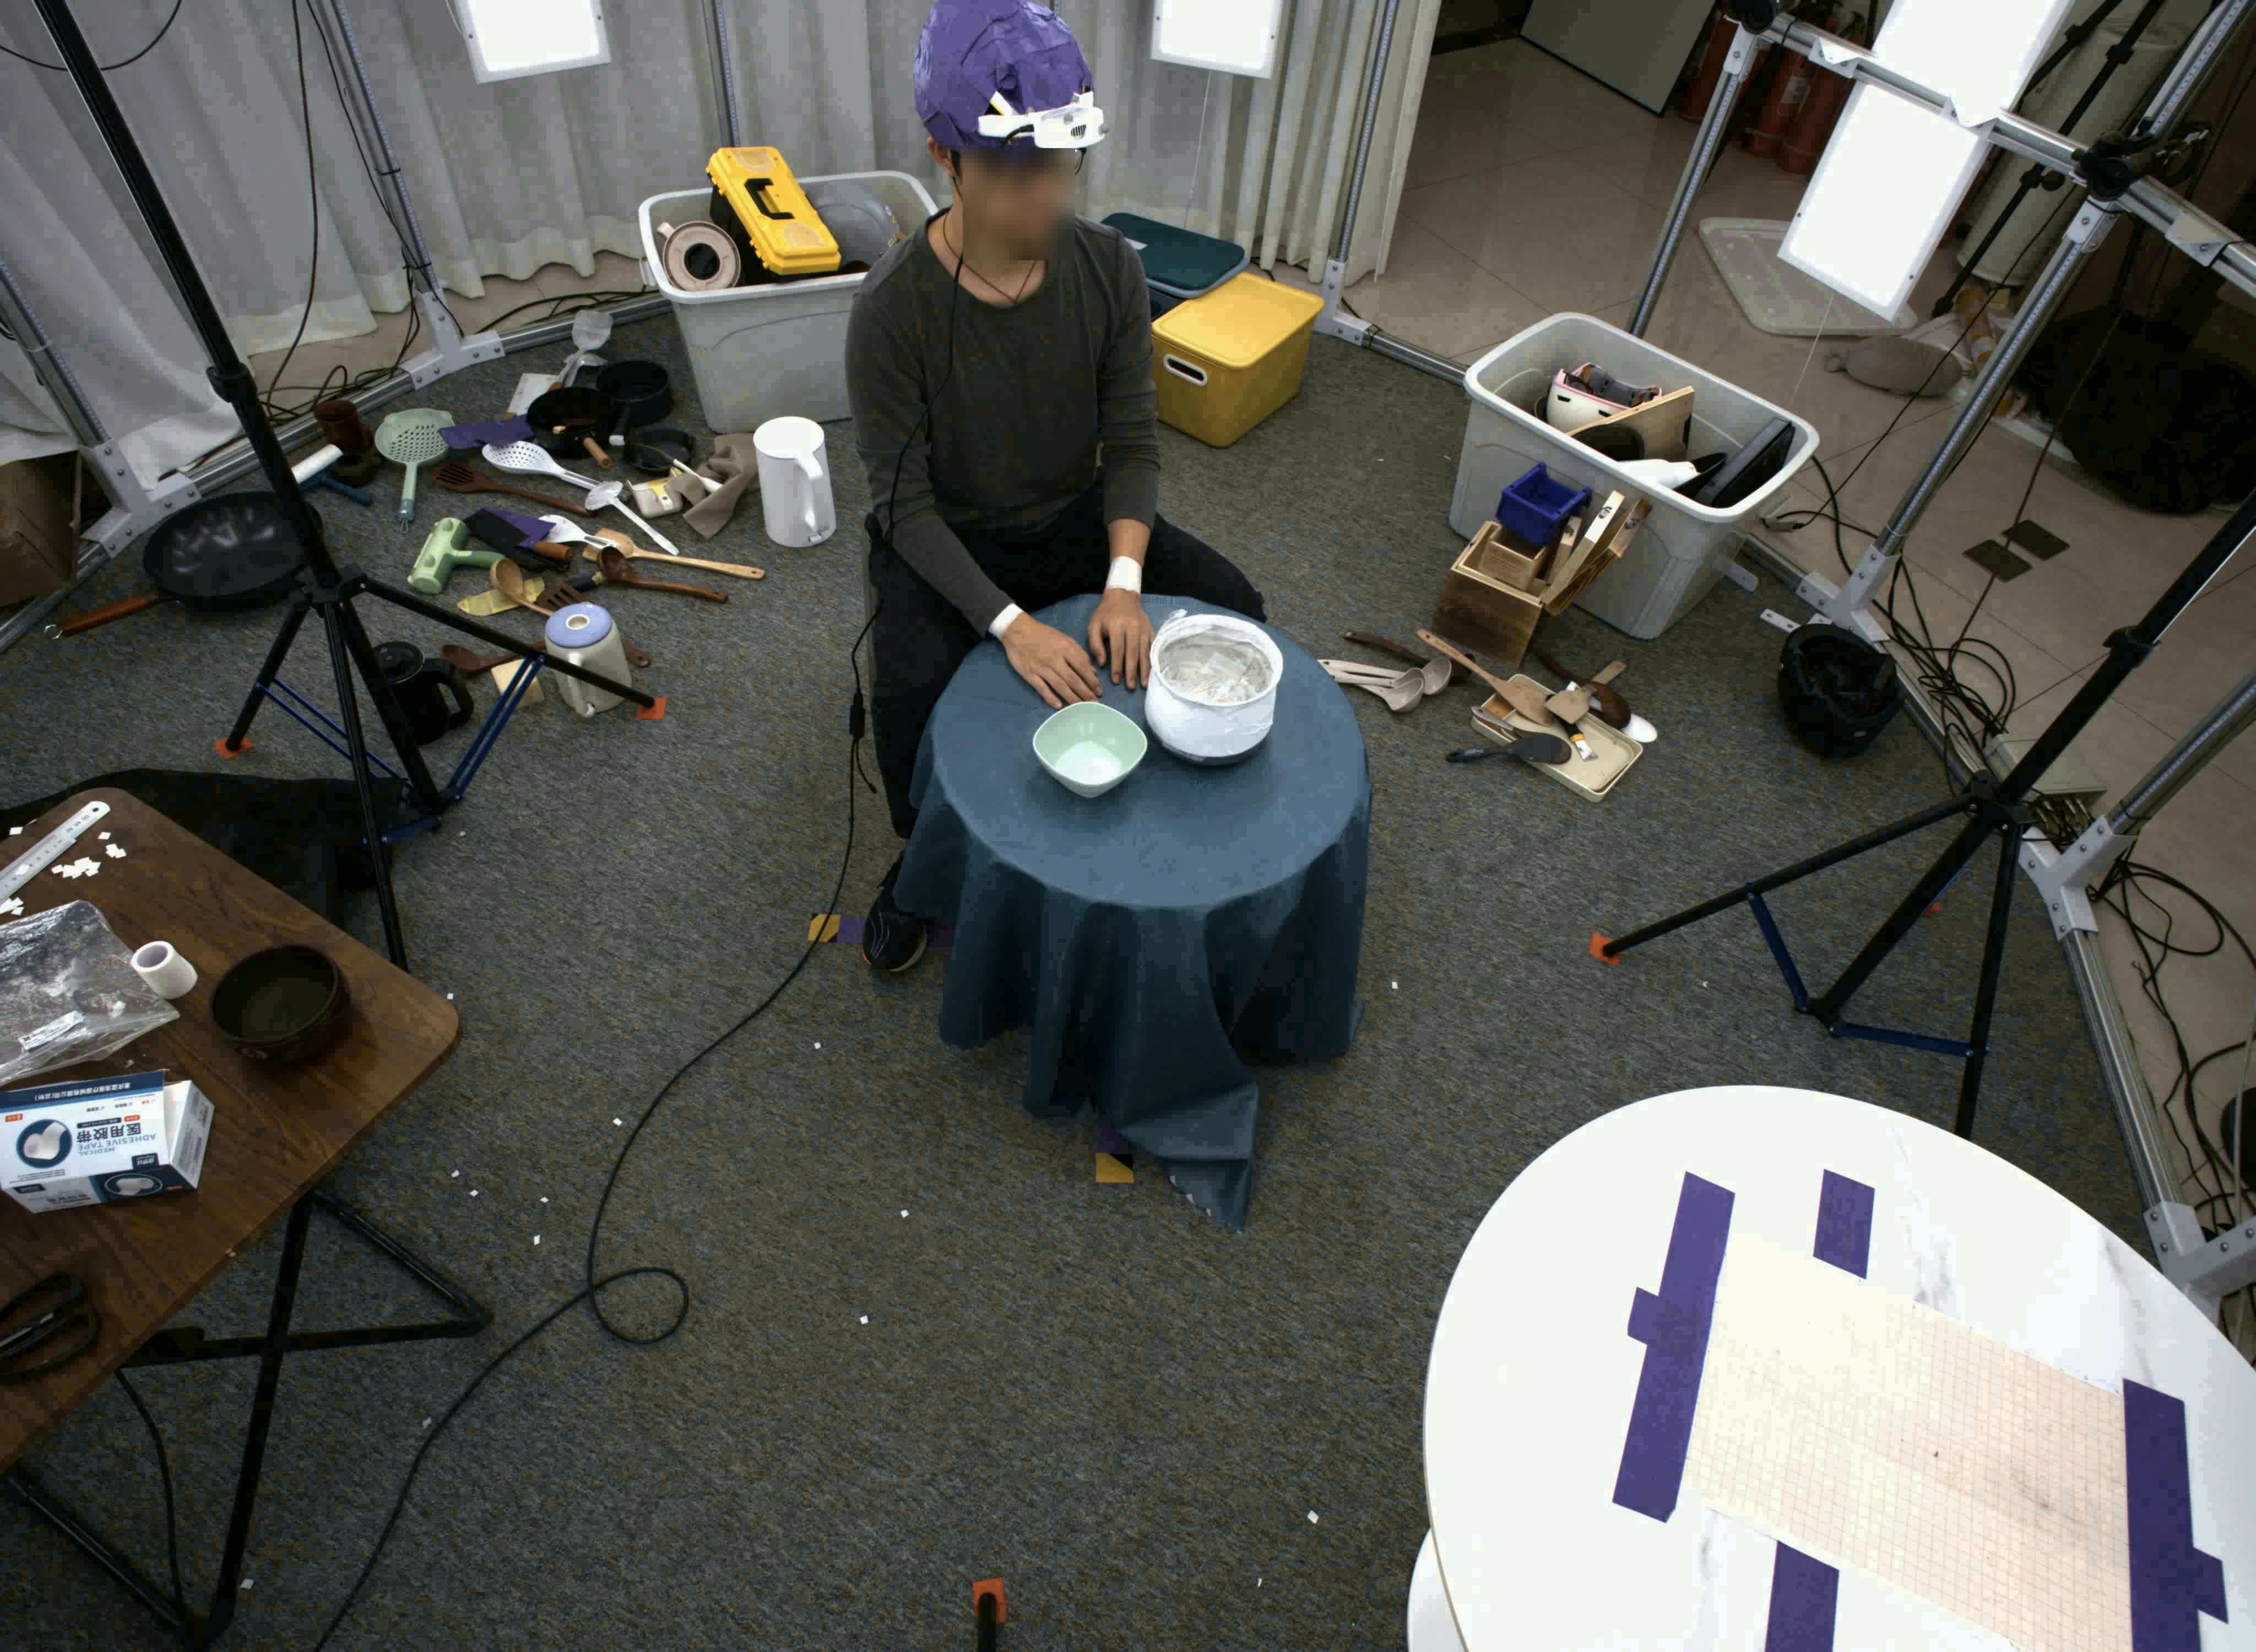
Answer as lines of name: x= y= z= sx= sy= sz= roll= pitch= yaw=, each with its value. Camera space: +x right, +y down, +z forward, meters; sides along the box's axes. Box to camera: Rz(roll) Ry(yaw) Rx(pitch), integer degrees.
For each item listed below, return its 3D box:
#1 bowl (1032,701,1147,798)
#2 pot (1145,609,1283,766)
bowl: x=-0.053 y=-0.093 z=1.708 sx=0.151 sy=0.057 sz=0.155 roll=2 pitch=51 yaw=-3
pot: x=0.101 y=-0.200 z=1.760 sx=0.179 sy=0.133 sz=0.239 roll=-20 pitch=53 yaw=-20
